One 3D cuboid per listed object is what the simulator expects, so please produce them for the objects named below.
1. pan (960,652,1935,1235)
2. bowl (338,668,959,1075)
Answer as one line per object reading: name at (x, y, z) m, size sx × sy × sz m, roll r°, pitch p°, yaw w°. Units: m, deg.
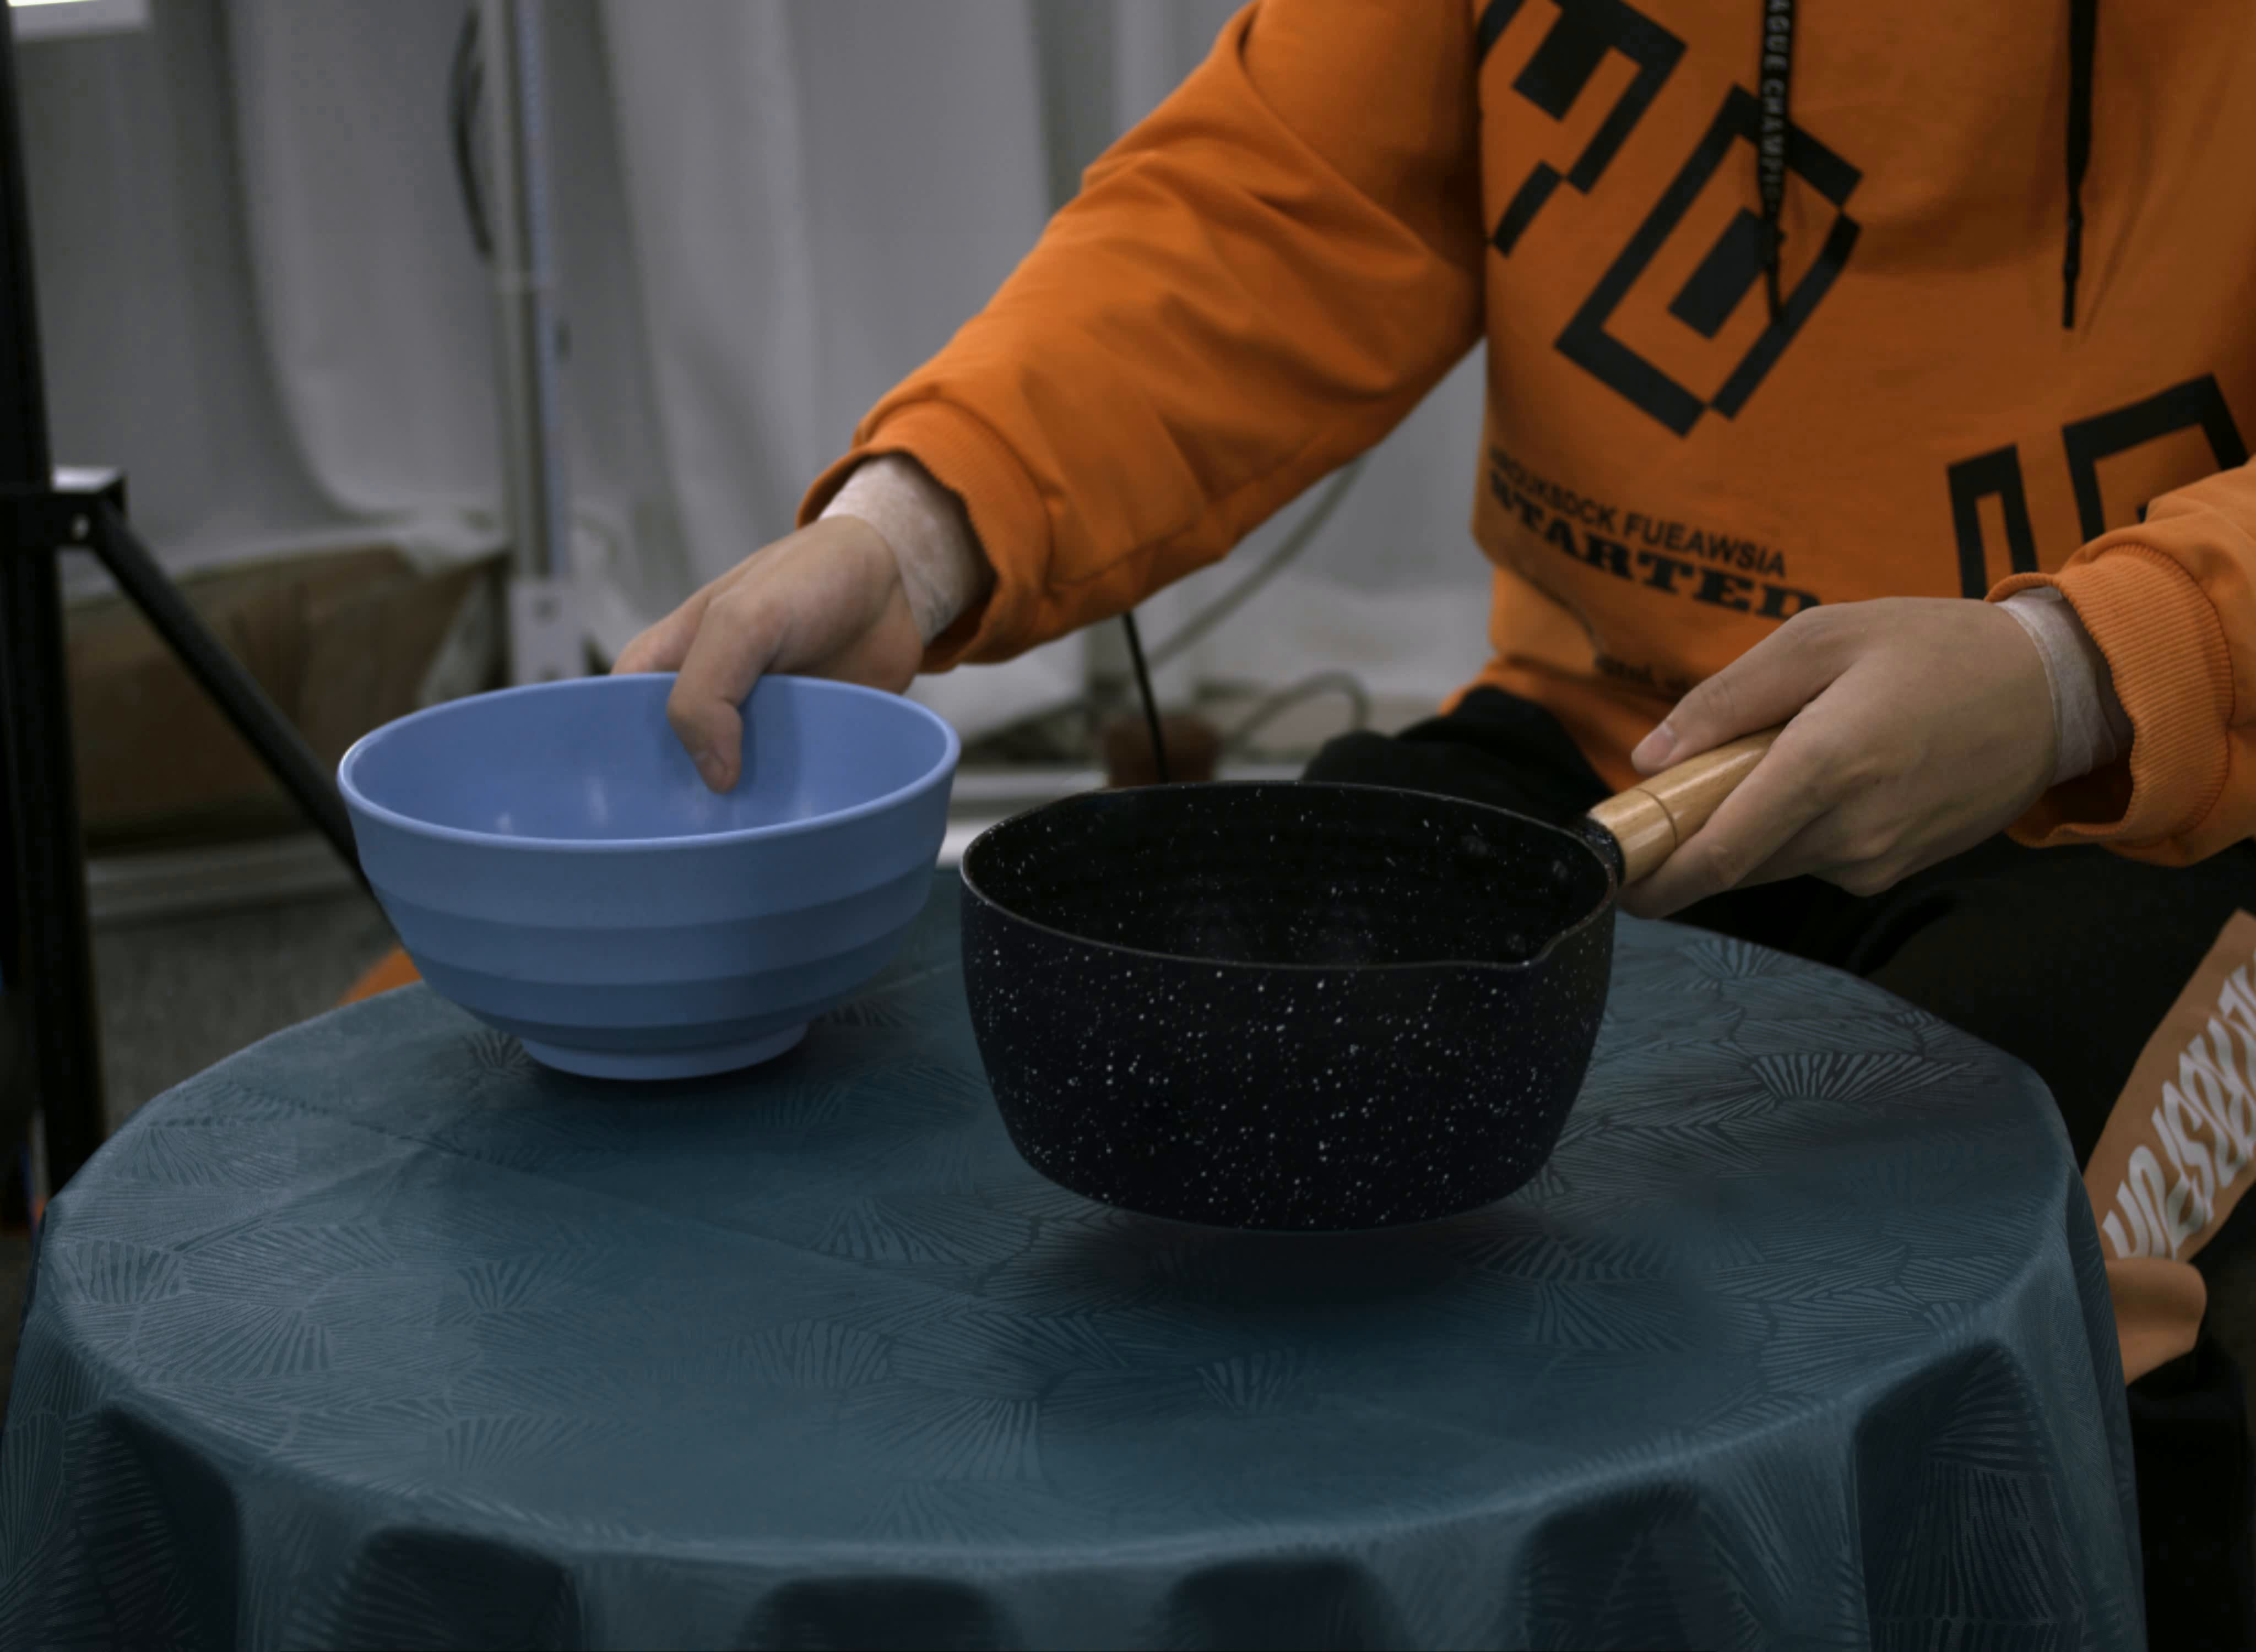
pan at (0.106, 0.027, 1.535) m, size 0.335 × 0.108 × 0.212 m, roll -13°, pitch 20°, yaw -37°
bowl at (-0.149, 0.019, 1.693) m, size 0.195 × 0.095 × 0.197 m, roll -3°, pitch 17°, yaw 0°
